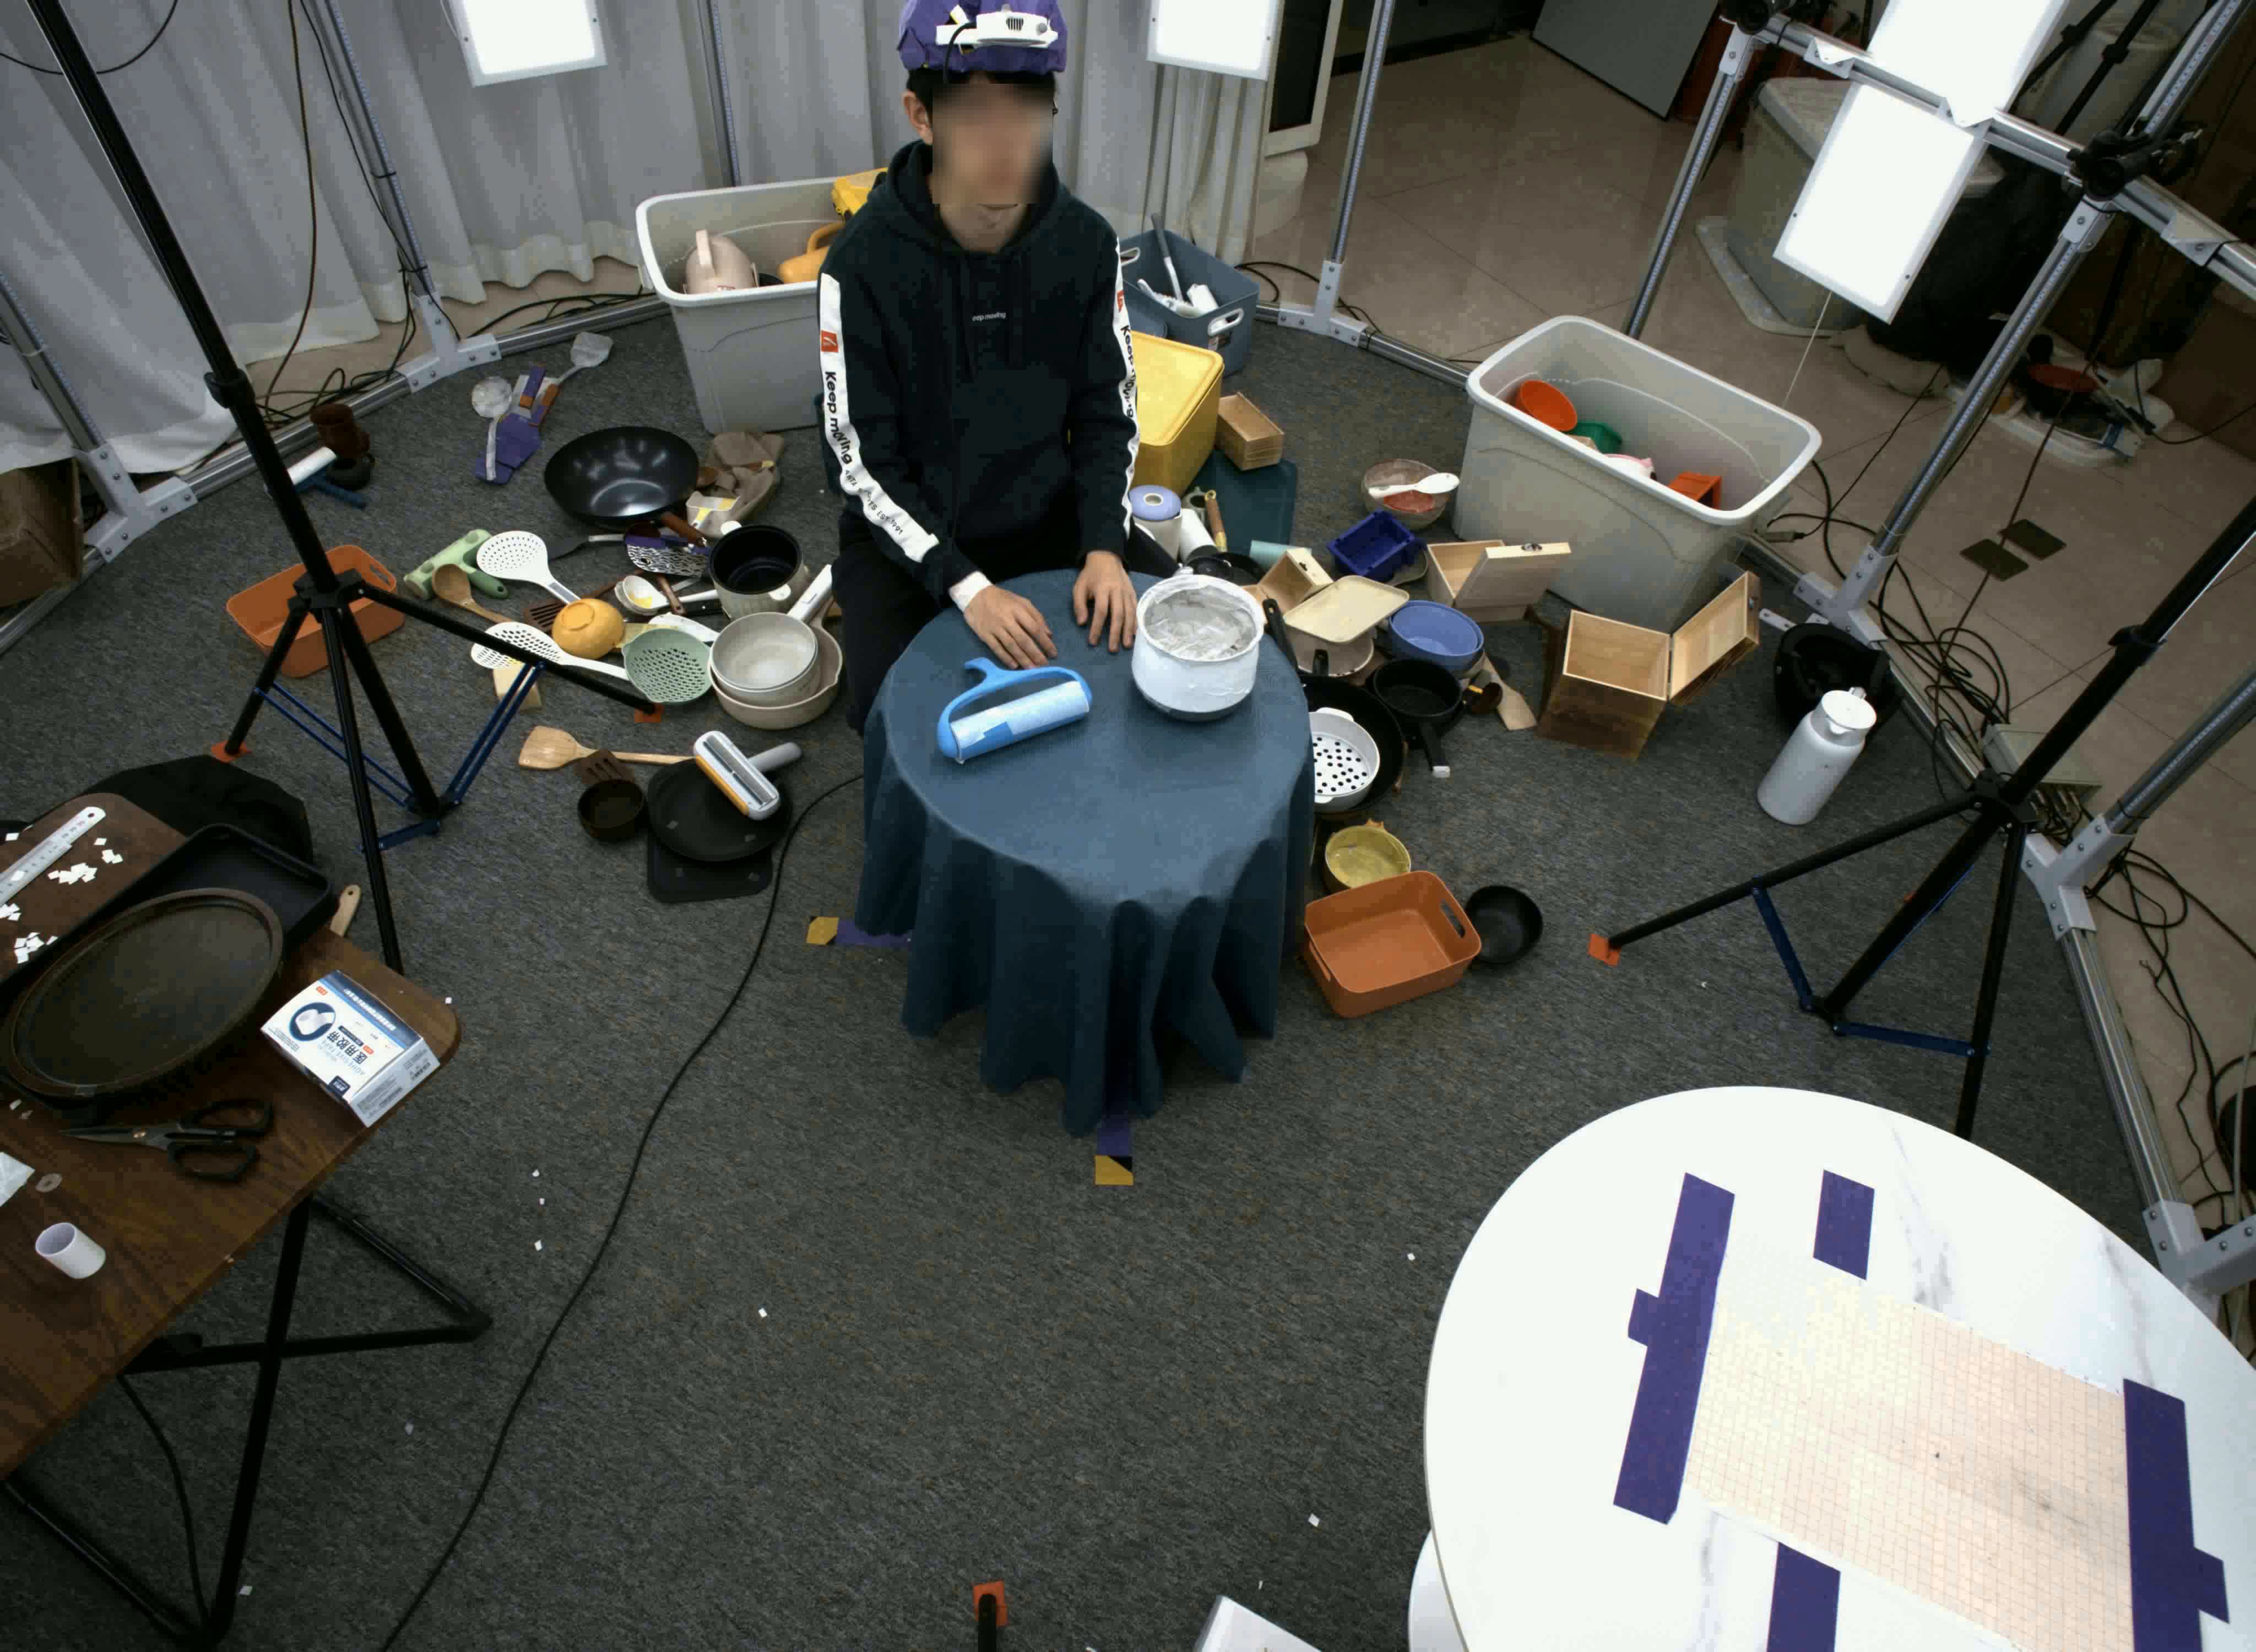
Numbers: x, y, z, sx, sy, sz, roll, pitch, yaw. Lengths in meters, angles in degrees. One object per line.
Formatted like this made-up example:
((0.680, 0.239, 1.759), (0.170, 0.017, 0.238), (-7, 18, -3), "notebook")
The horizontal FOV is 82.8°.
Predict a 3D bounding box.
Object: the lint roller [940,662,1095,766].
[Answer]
((-0.180, -0.182, 1.778), (0.230, 0.066, 0.184), (-26, 56, -21), "lint roller")

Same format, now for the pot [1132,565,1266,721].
((0.091, -0.268, 1.815), (0.178, 0.133, 0.239), (-6, 51, -9), "pot")
